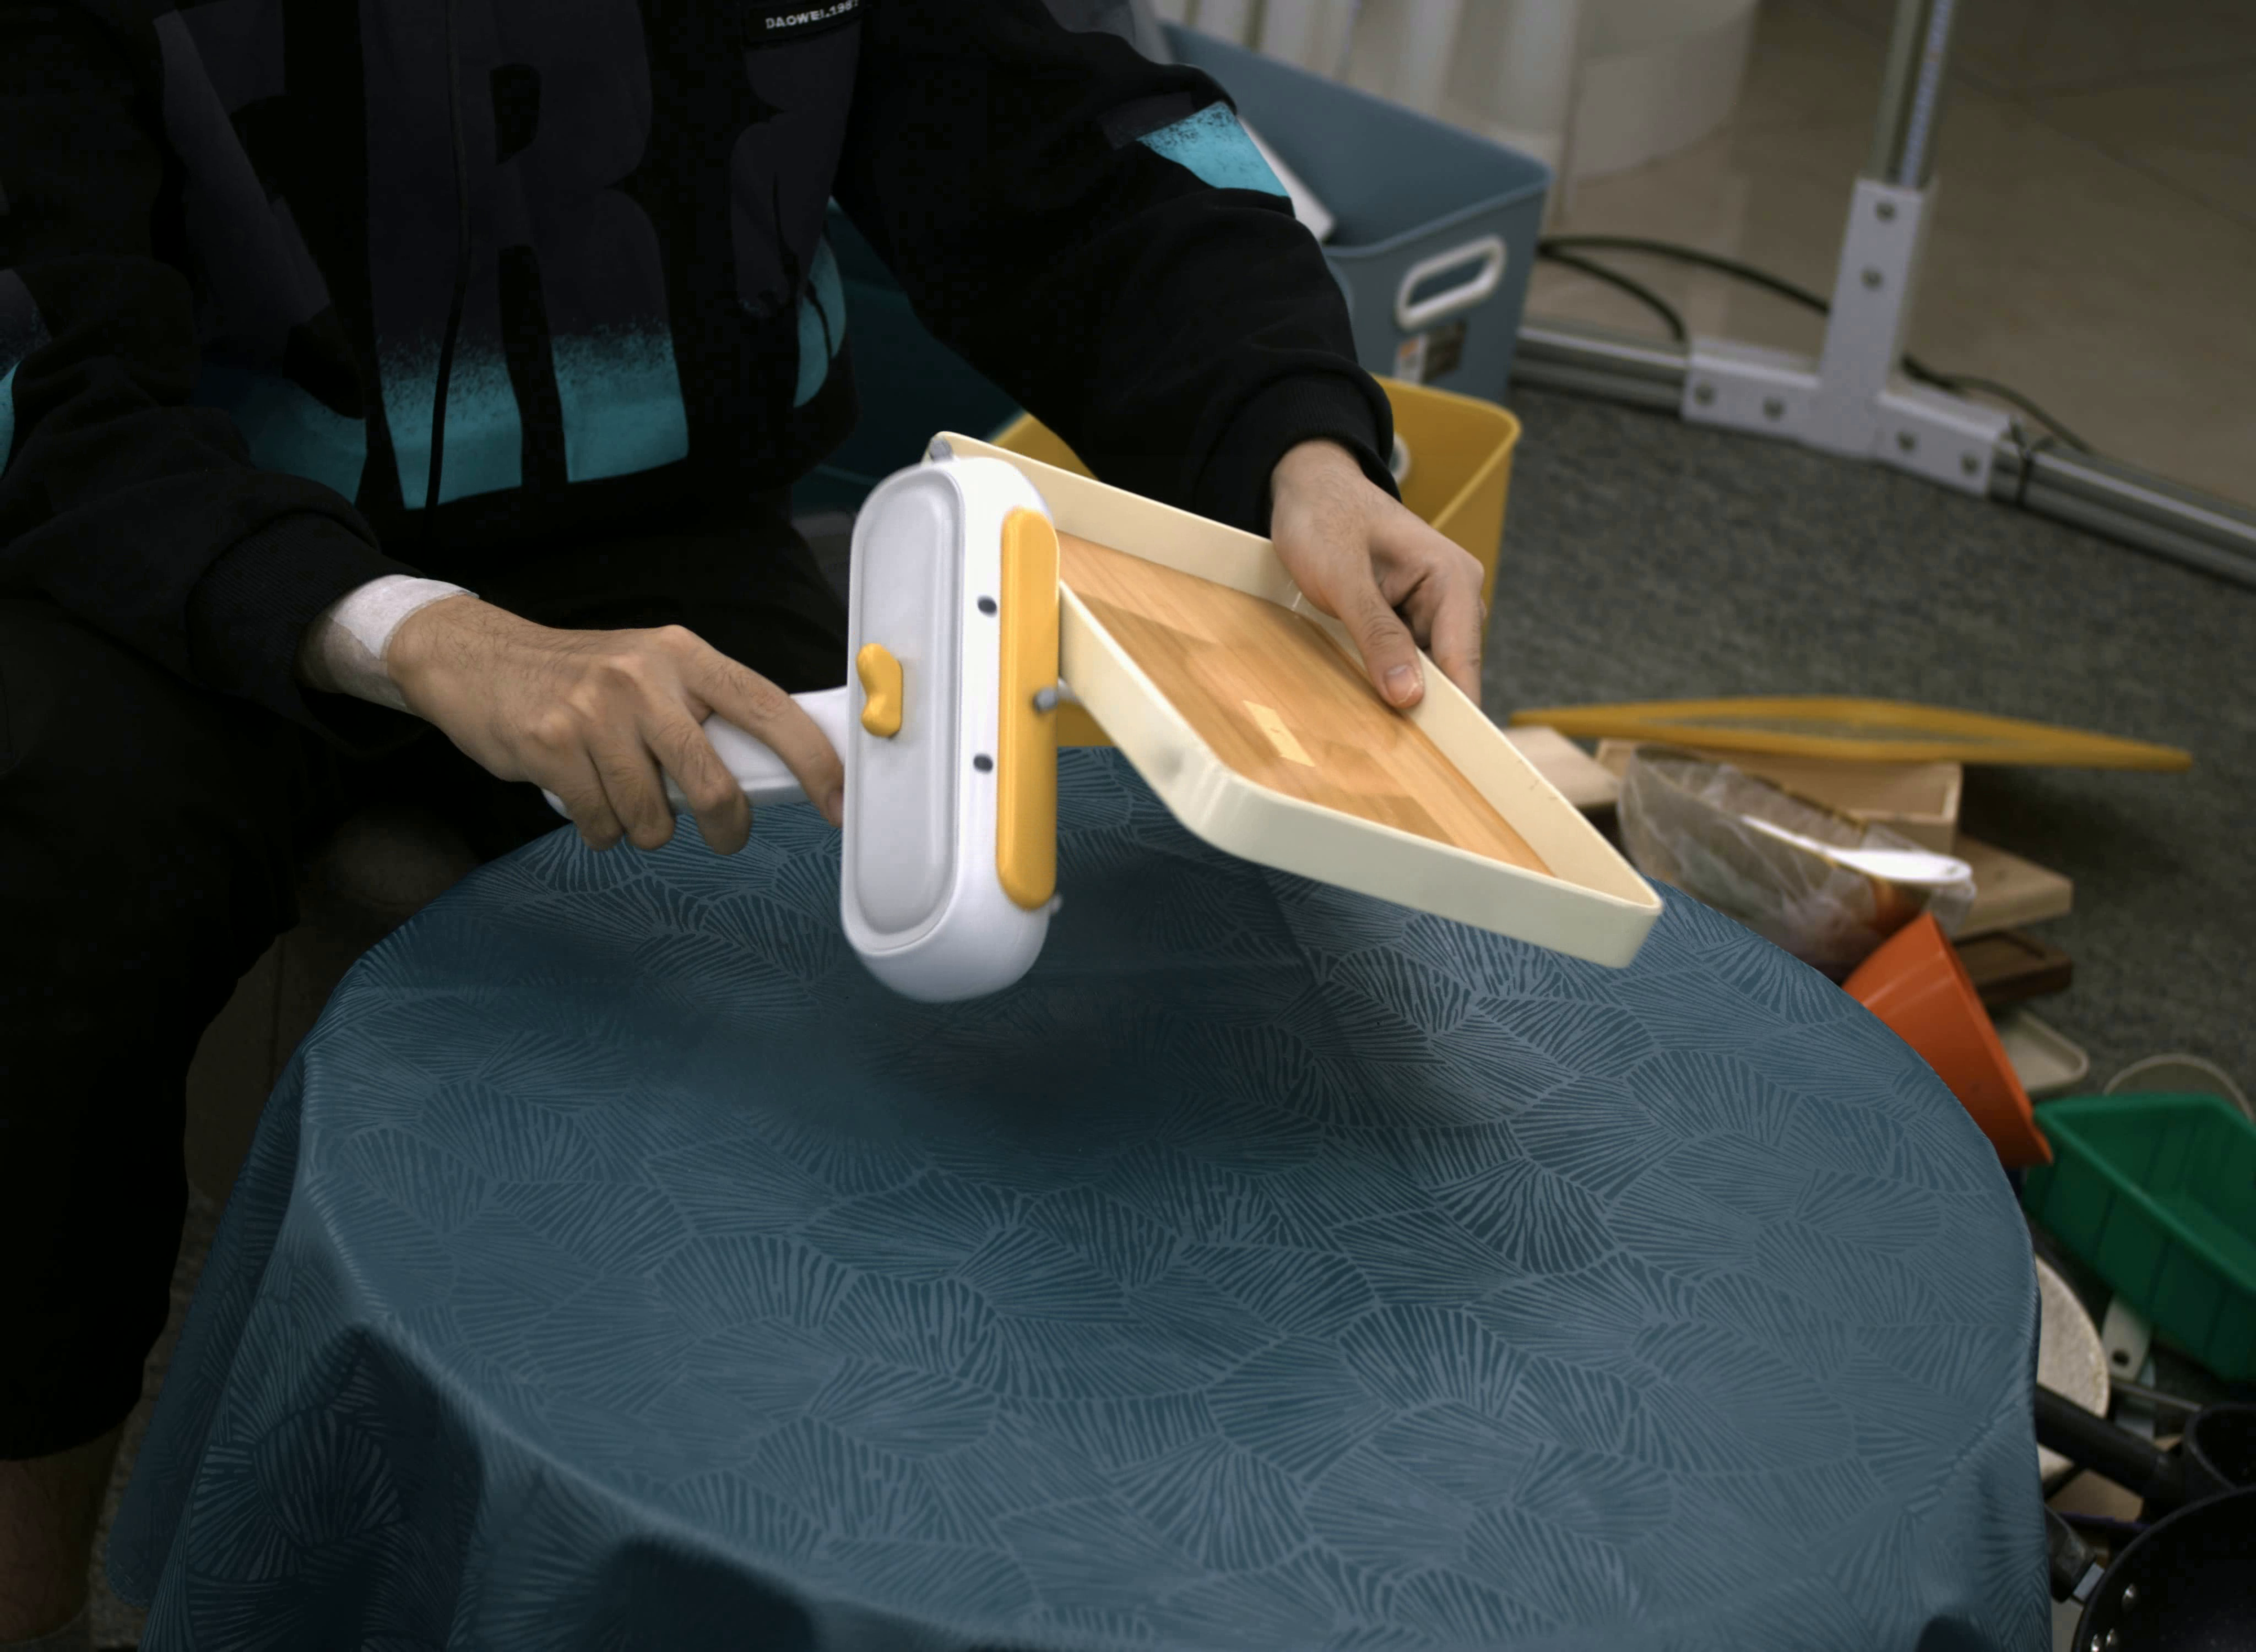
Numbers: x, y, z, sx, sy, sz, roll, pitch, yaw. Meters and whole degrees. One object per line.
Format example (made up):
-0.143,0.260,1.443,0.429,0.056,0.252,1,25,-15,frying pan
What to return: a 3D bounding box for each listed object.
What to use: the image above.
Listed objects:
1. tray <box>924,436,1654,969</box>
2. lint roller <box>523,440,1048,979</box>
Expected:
0.048,-0.047,1.886,0.190,0.027,0.303,17,18,-29,tray
-0.118,-0.029,1.843,0.193,0.194,0.073,-16,-24,28,lint roller
